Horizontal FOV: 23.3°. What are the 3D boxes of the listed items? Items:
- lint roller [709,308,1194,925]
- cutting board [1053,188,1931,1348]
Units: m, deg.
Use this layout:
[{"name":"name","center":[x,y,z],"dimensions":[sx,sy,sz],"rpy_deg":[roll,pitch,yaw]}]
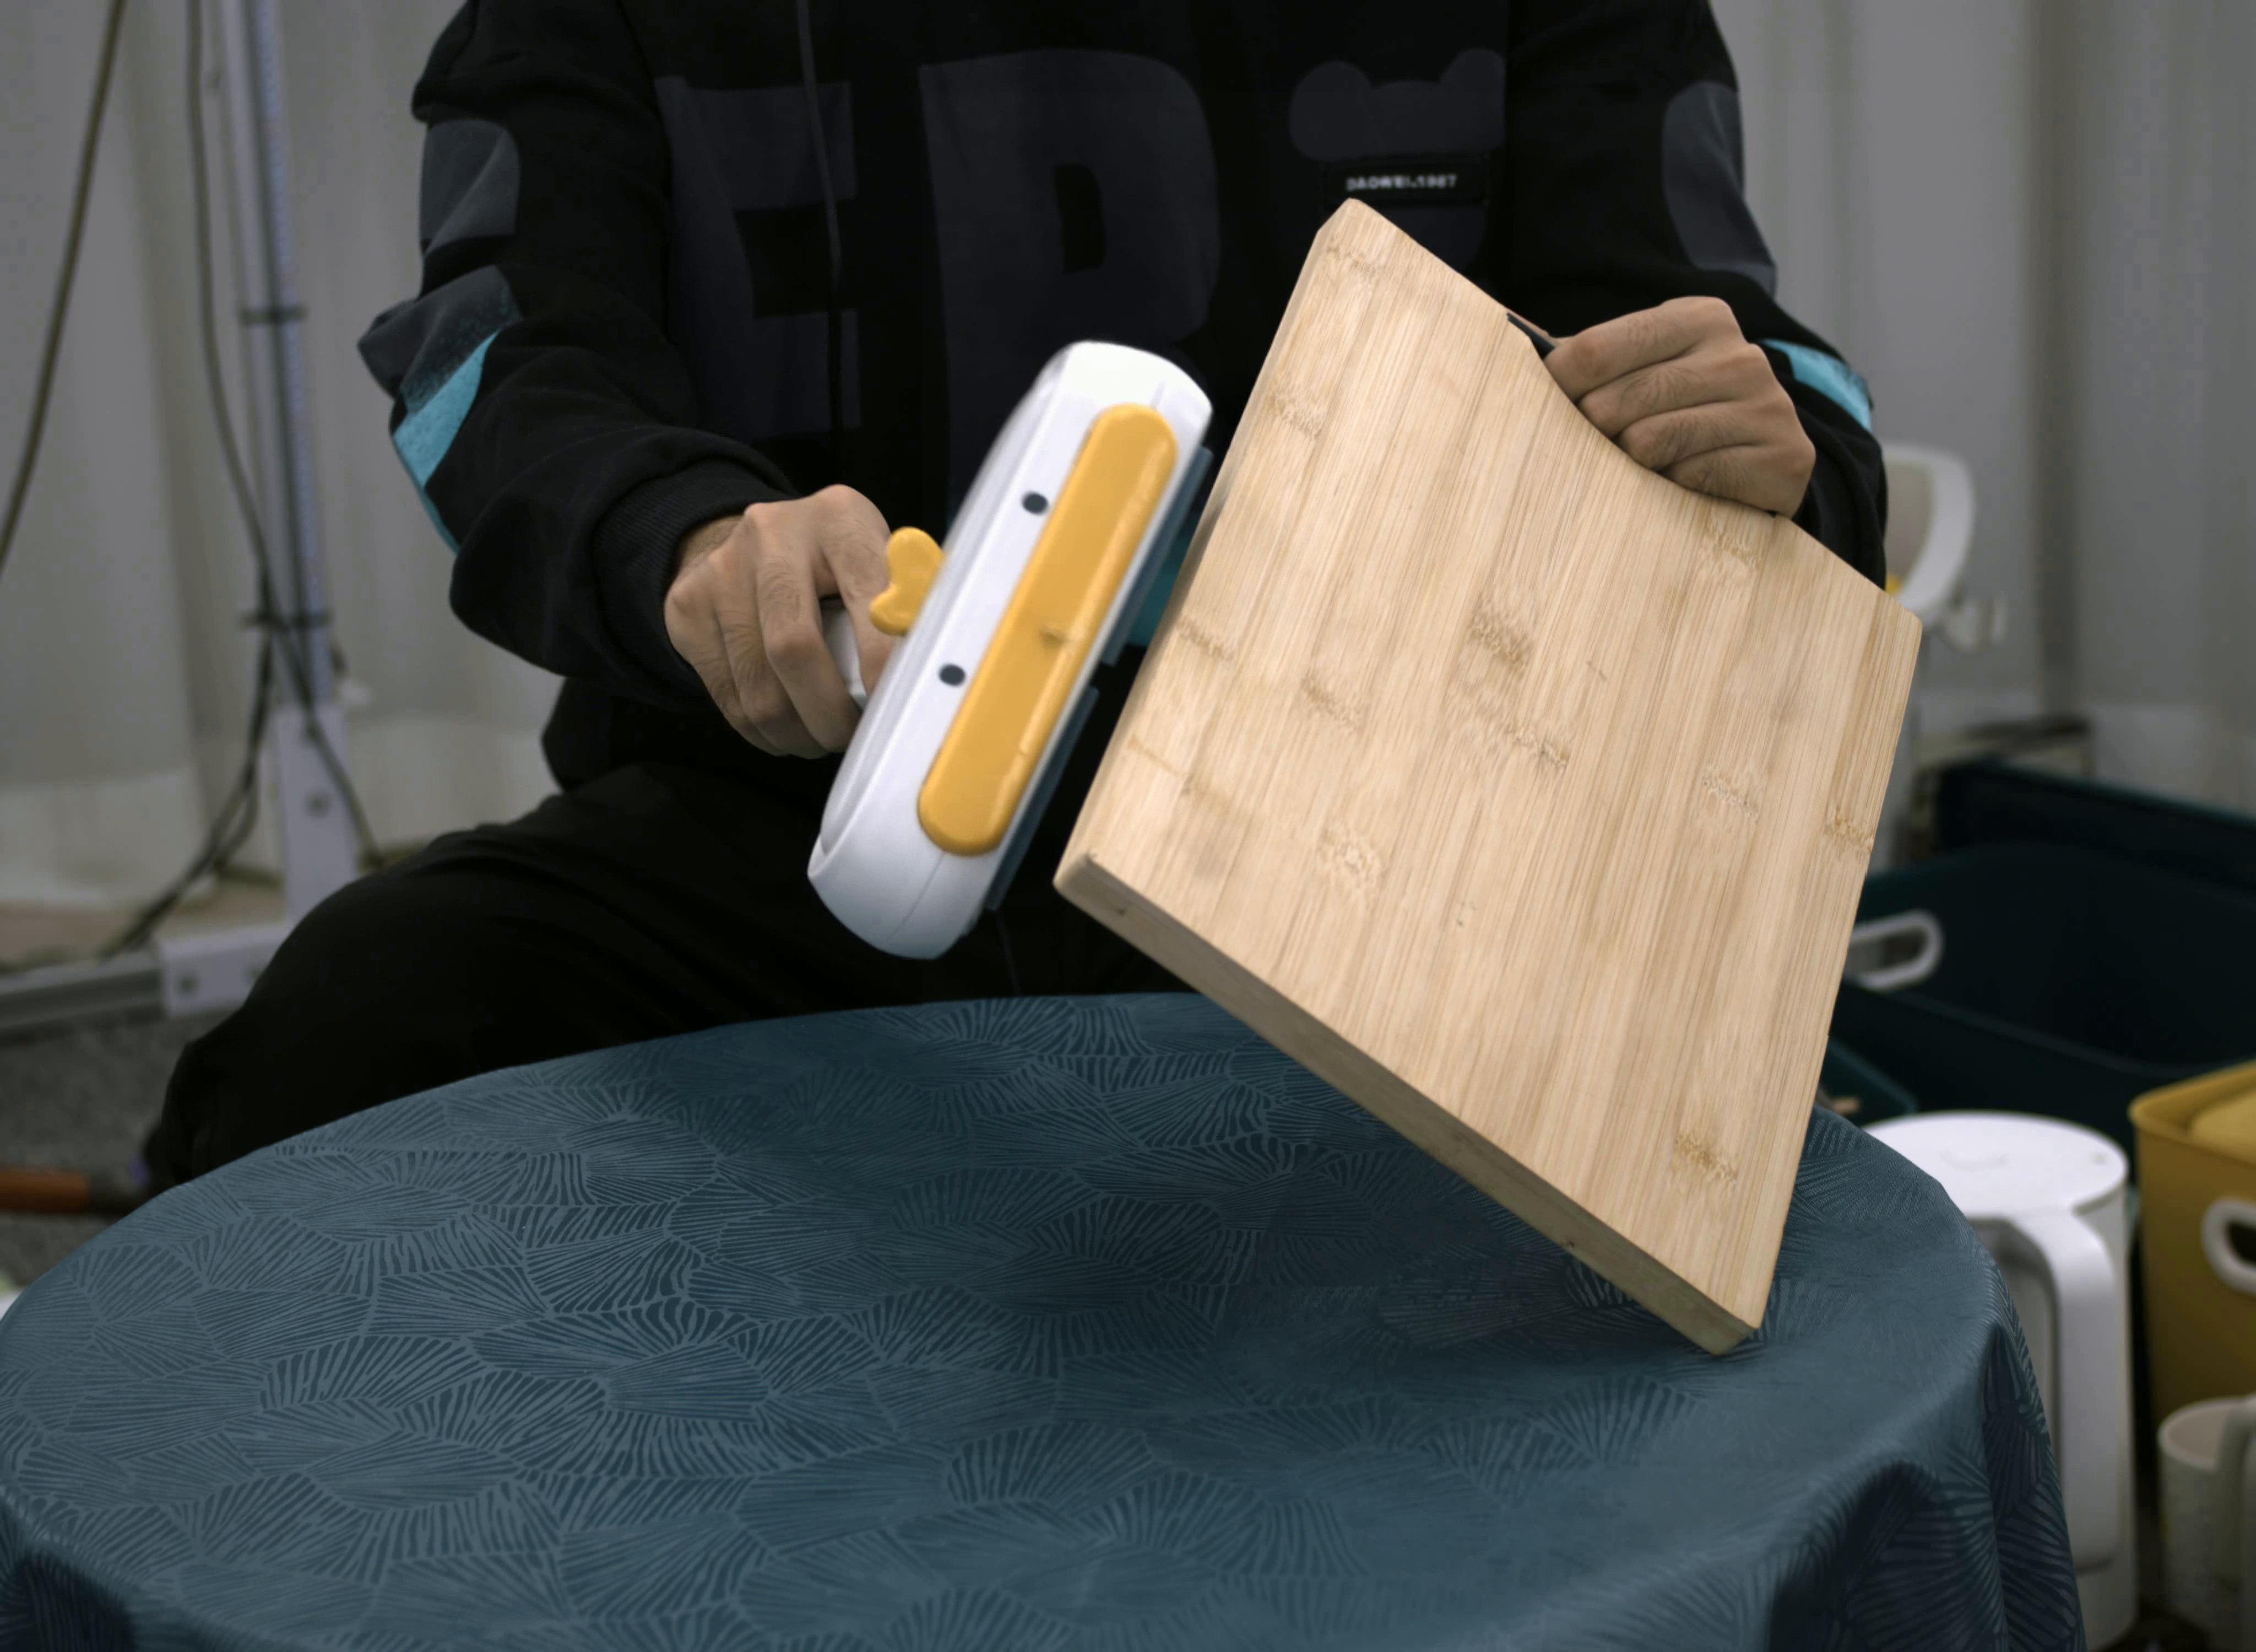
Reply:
[{"name":"lint roller","center":[-0.065,-0.055,1.641],"dimensions":[0.073,0.195,0.192],"rpy_deg":[25,-20,-19]},{"name":"cutting board","center":[0.121,-0.028,1.654],"dimensions":[0.249,0.023,0.353],"rpy_deg":[35,40,-12]}]
